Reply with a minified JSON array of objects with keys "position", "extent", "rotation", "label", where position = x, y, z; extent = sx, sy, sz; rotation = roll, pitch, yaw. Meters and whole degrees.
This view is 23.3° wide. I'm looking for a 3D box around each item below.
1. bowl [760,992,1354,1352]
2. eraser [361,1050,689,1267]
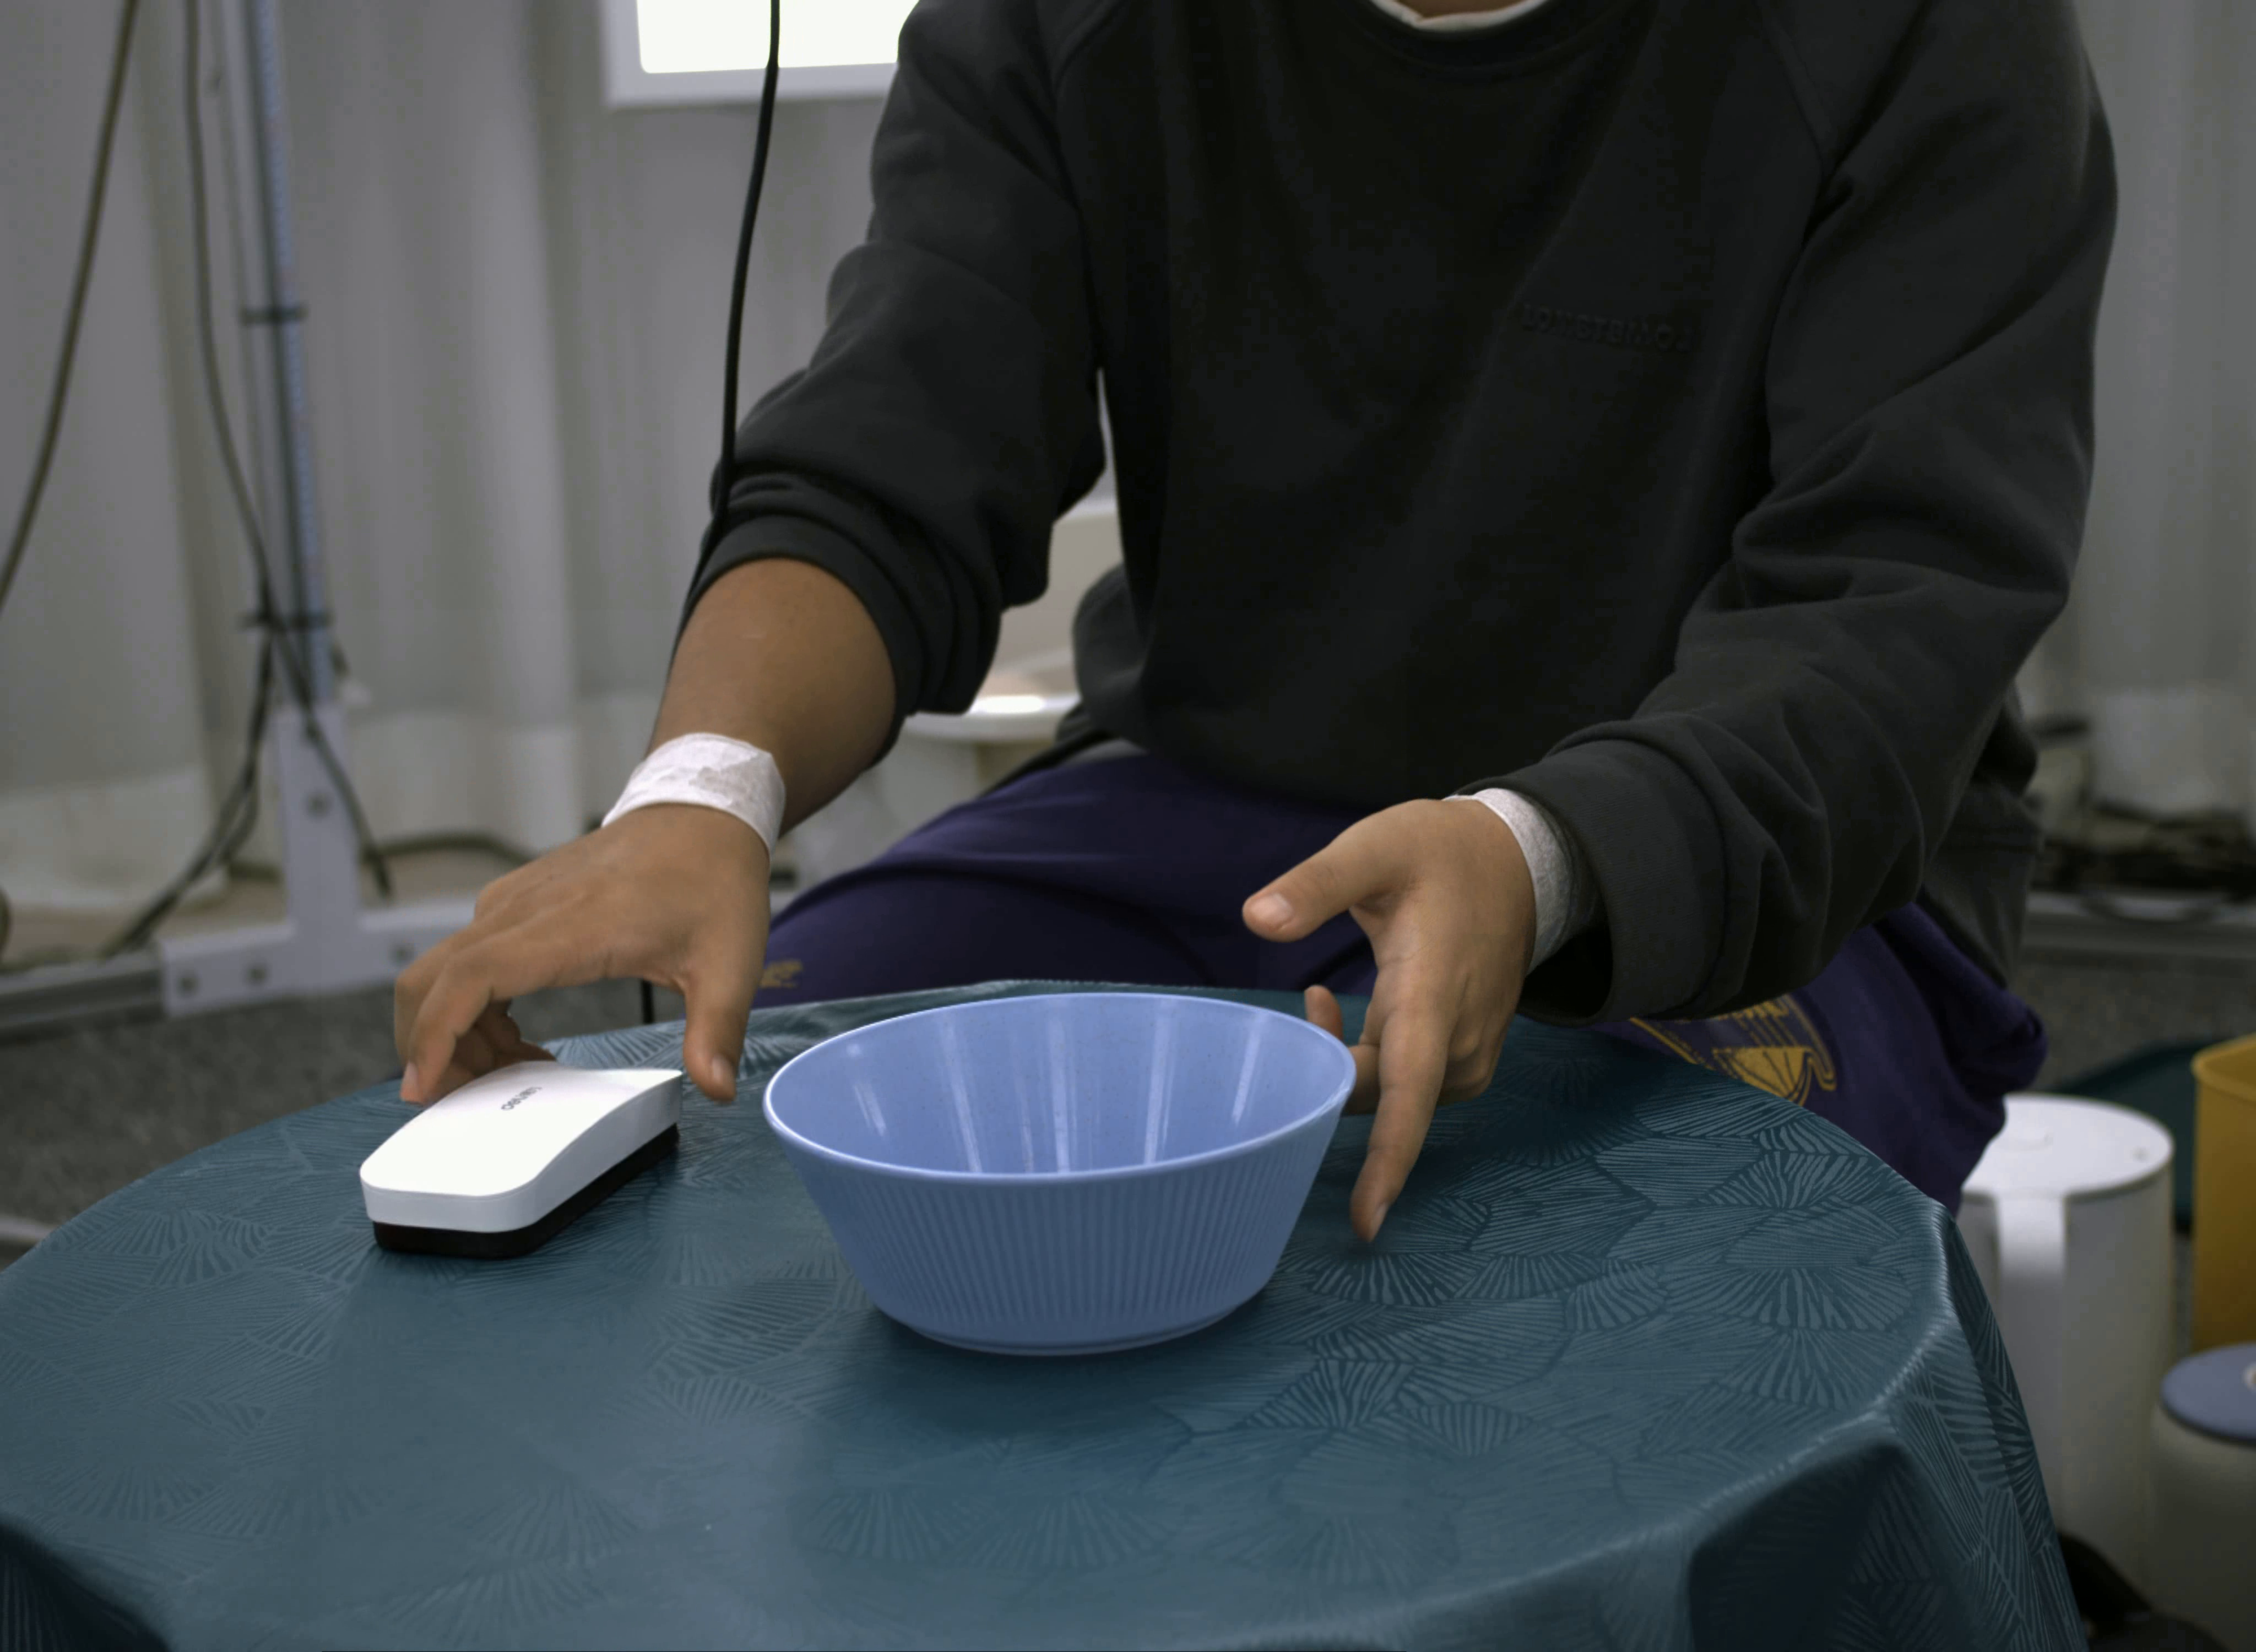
[{"position":[-0.020,0.105,1.619],"extent":[0.175,0.070,0.177],"rotation":[-2,15,0],"label":"bowl"},{"position":[-0.189,0.102,1.739],"extent":[0.063,0.034,0.132],"rotation":[5,19,22],"label":"eraser"}]
